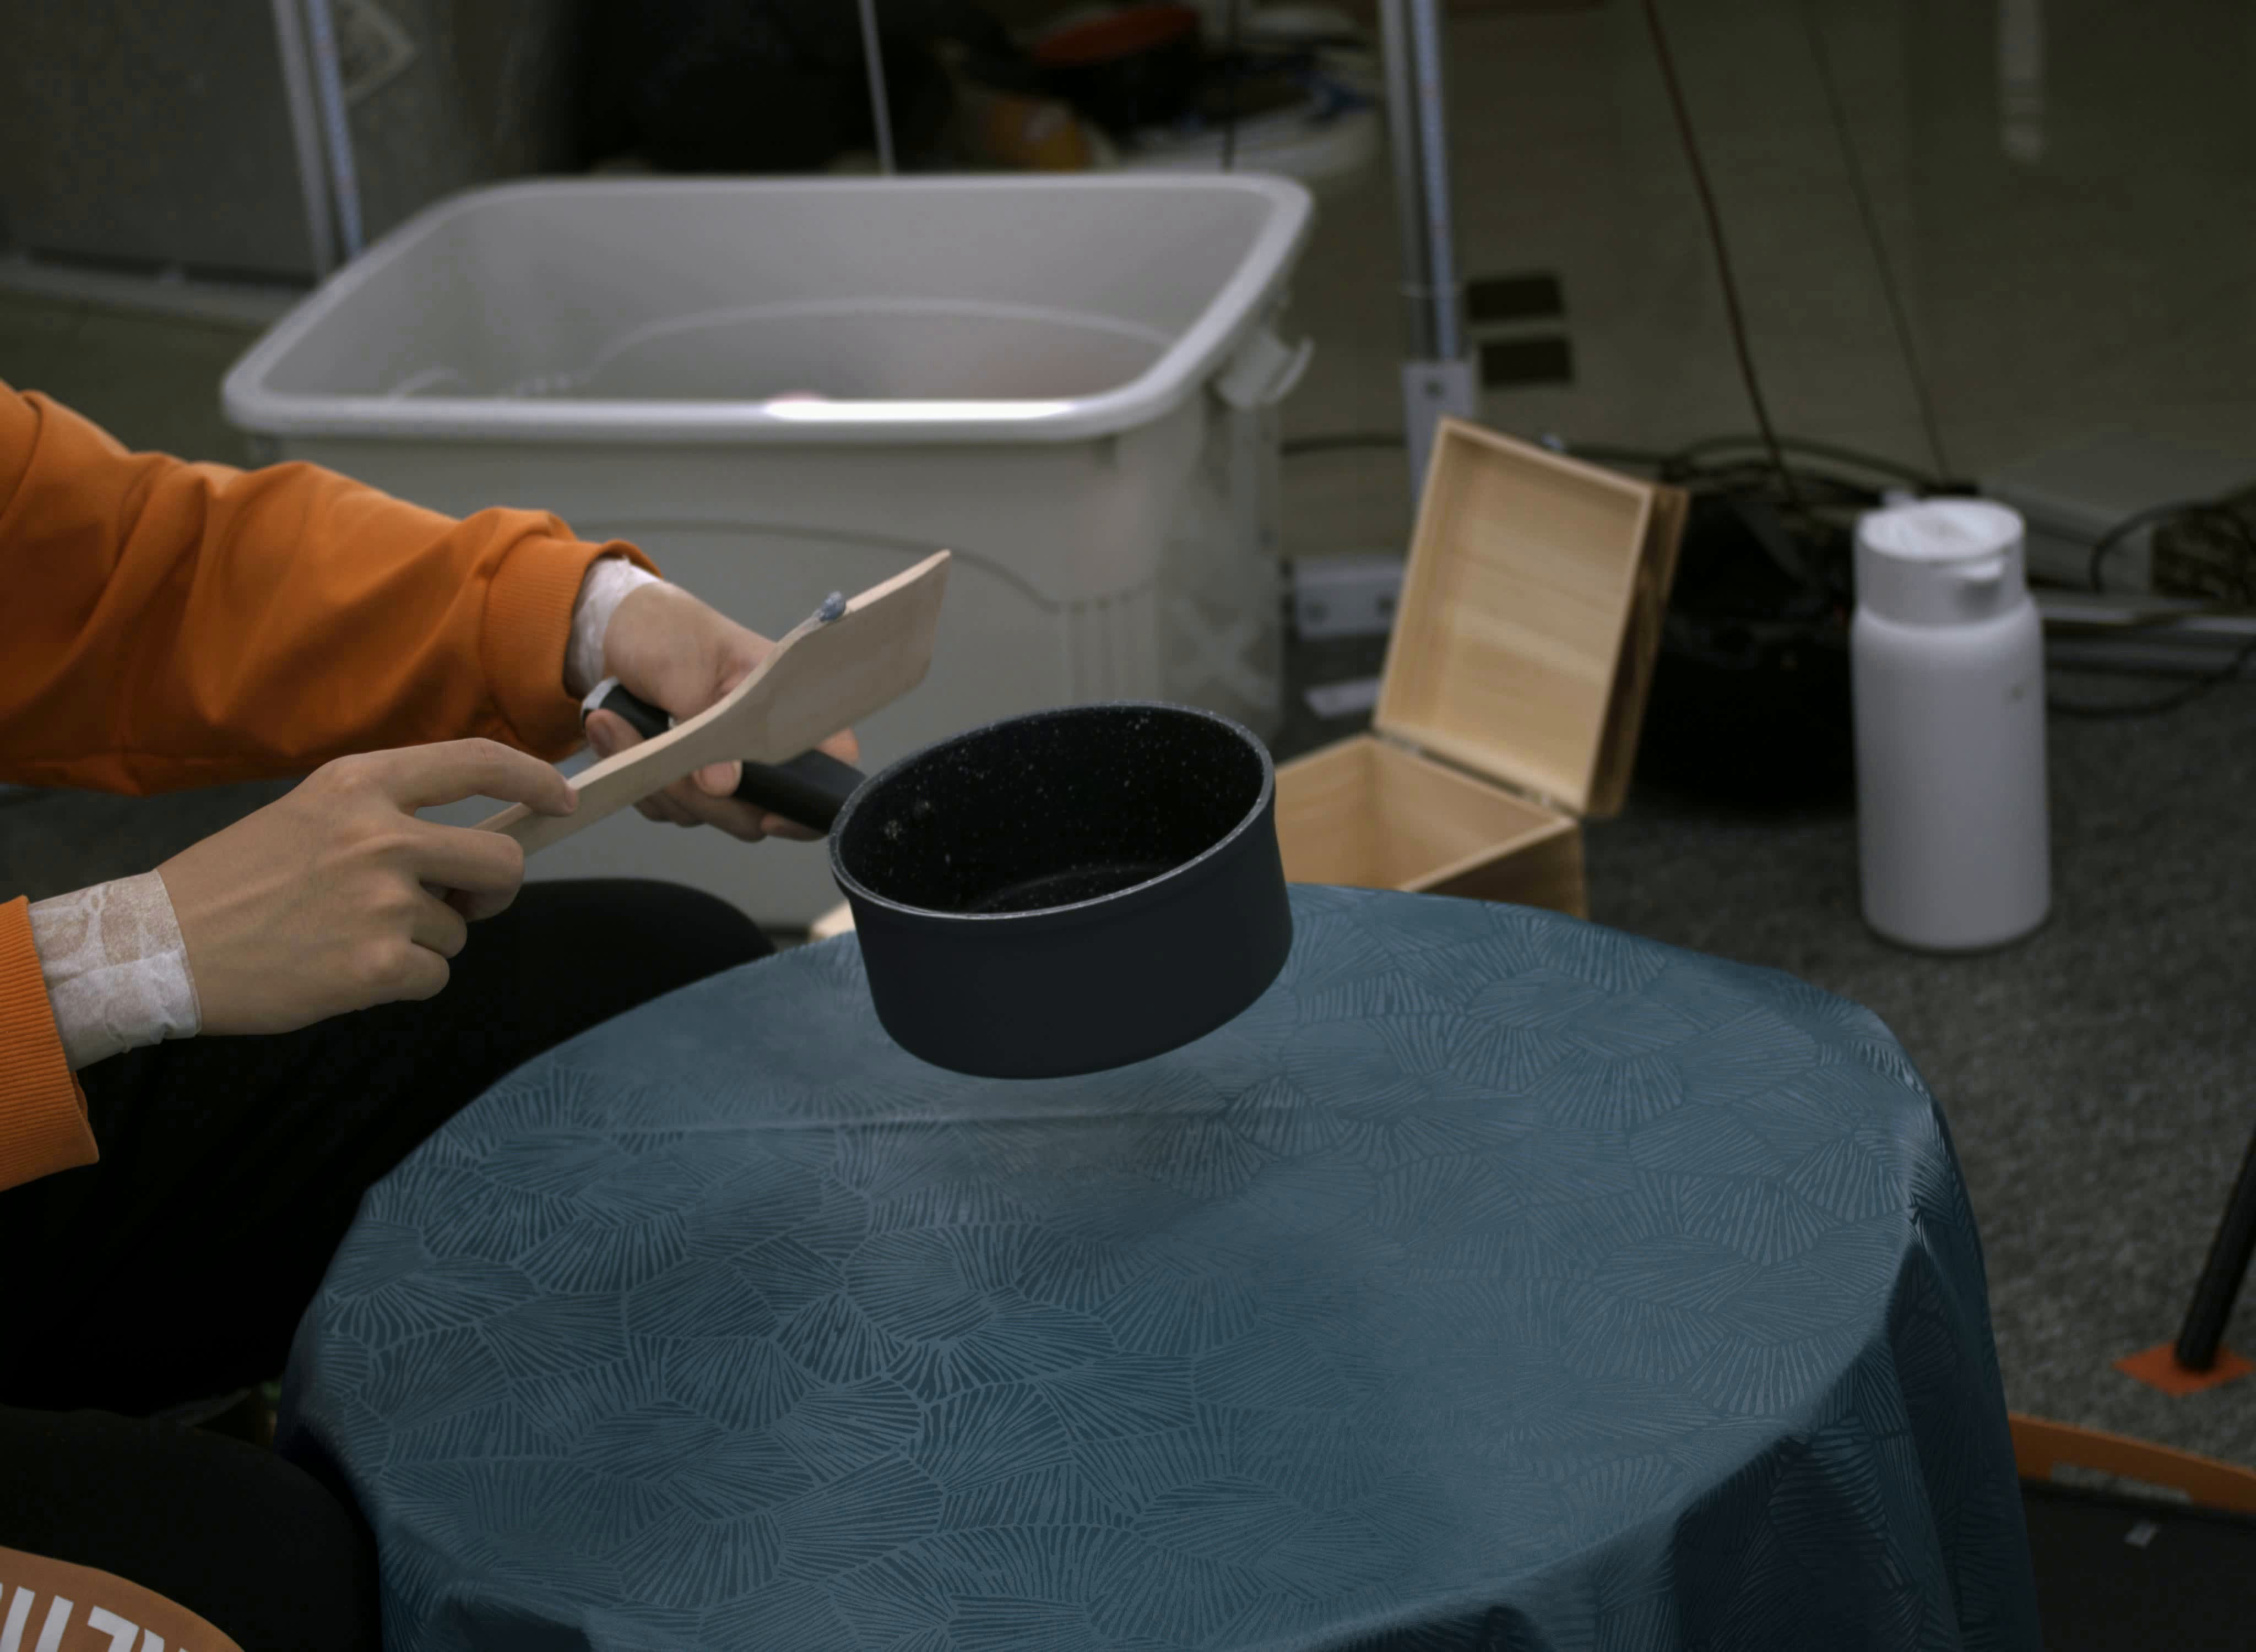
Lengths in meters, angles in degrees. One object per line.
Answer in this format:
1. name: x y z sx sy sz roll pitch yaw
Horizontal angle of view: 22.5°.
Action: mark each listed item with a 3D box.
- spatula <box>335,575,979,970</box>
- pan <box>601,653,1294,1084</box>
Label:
1. spatula: -0.166 -0.015 2.045 0.290 0.073 0.010 -28 60 -33
2. pan: -0.081 0.007 2.194 0.326 0.088 0.170 17 38 40
